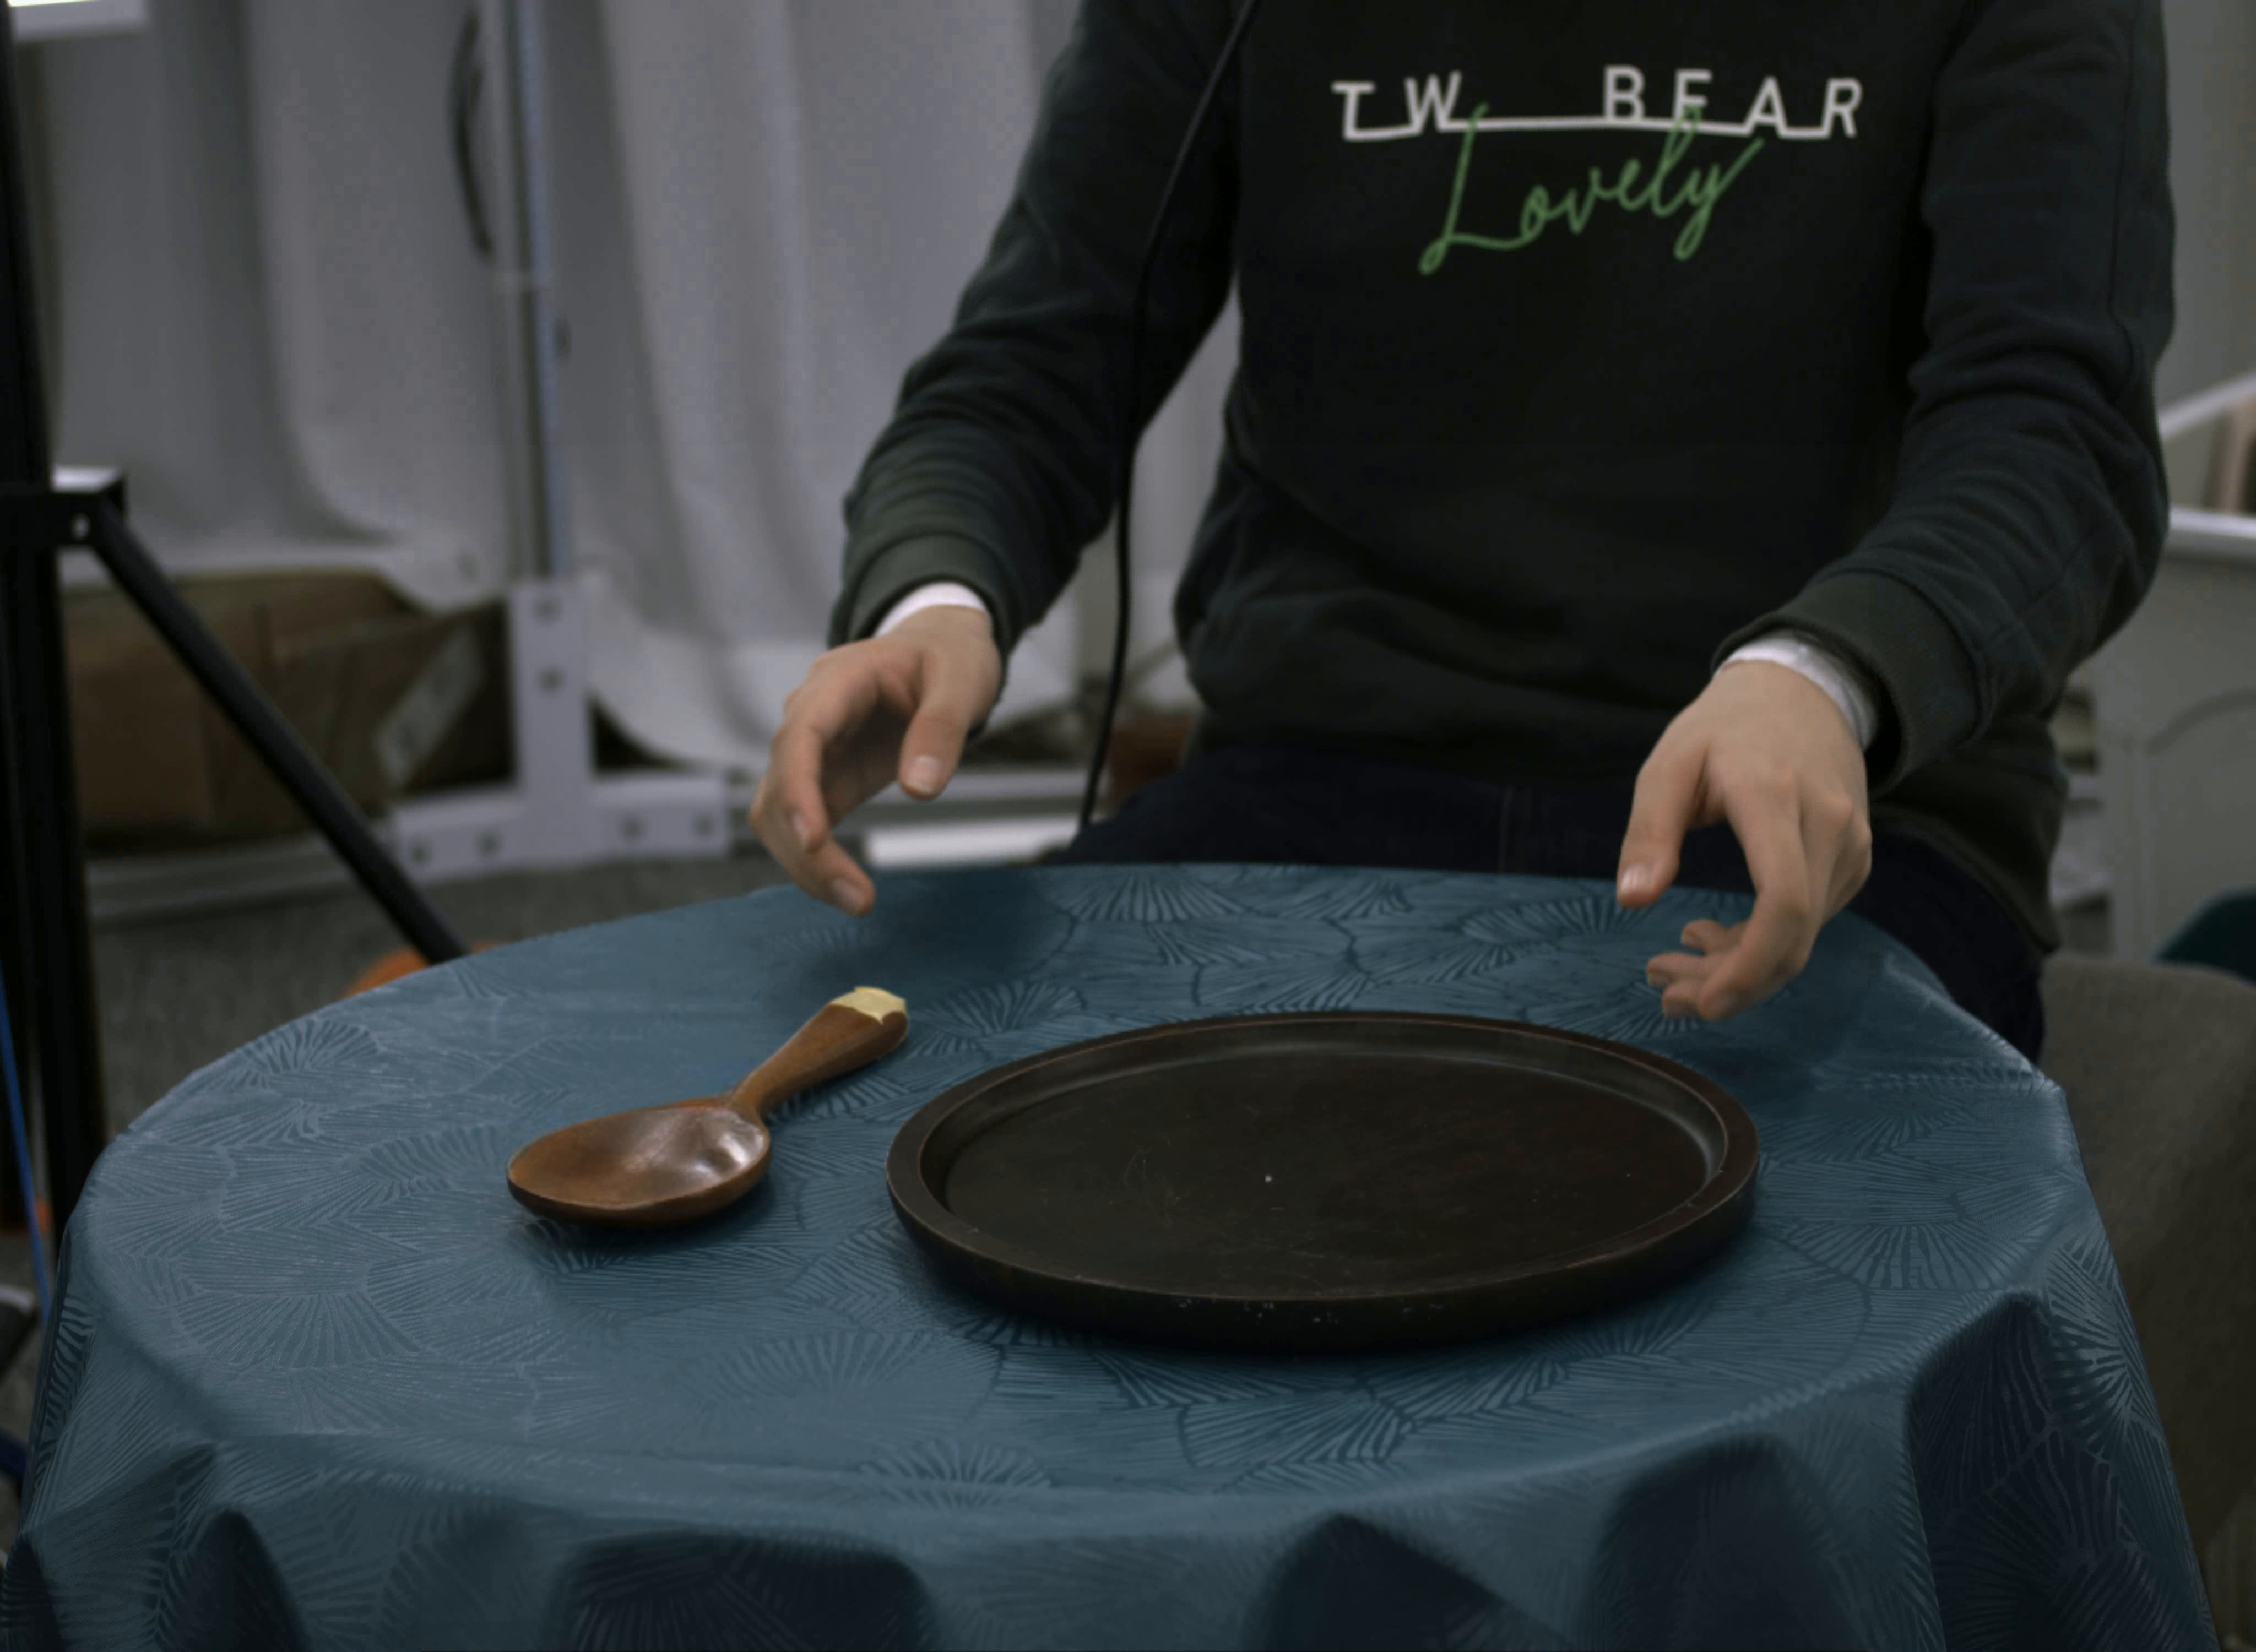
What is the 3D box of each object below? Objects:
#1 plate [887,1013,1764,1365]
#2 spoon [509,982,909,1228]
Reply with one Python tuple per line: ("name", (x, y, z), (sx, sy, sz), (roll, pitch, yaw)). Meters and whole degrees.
("plate", (0.057, 0.102, 1.529), (0.253, 0.029, 0.256), (-2, 17, -1))
("spoon", (-0.118, 0.086, 1.623), (0.076, 0.017, 0.213), (4, 17, 22))
